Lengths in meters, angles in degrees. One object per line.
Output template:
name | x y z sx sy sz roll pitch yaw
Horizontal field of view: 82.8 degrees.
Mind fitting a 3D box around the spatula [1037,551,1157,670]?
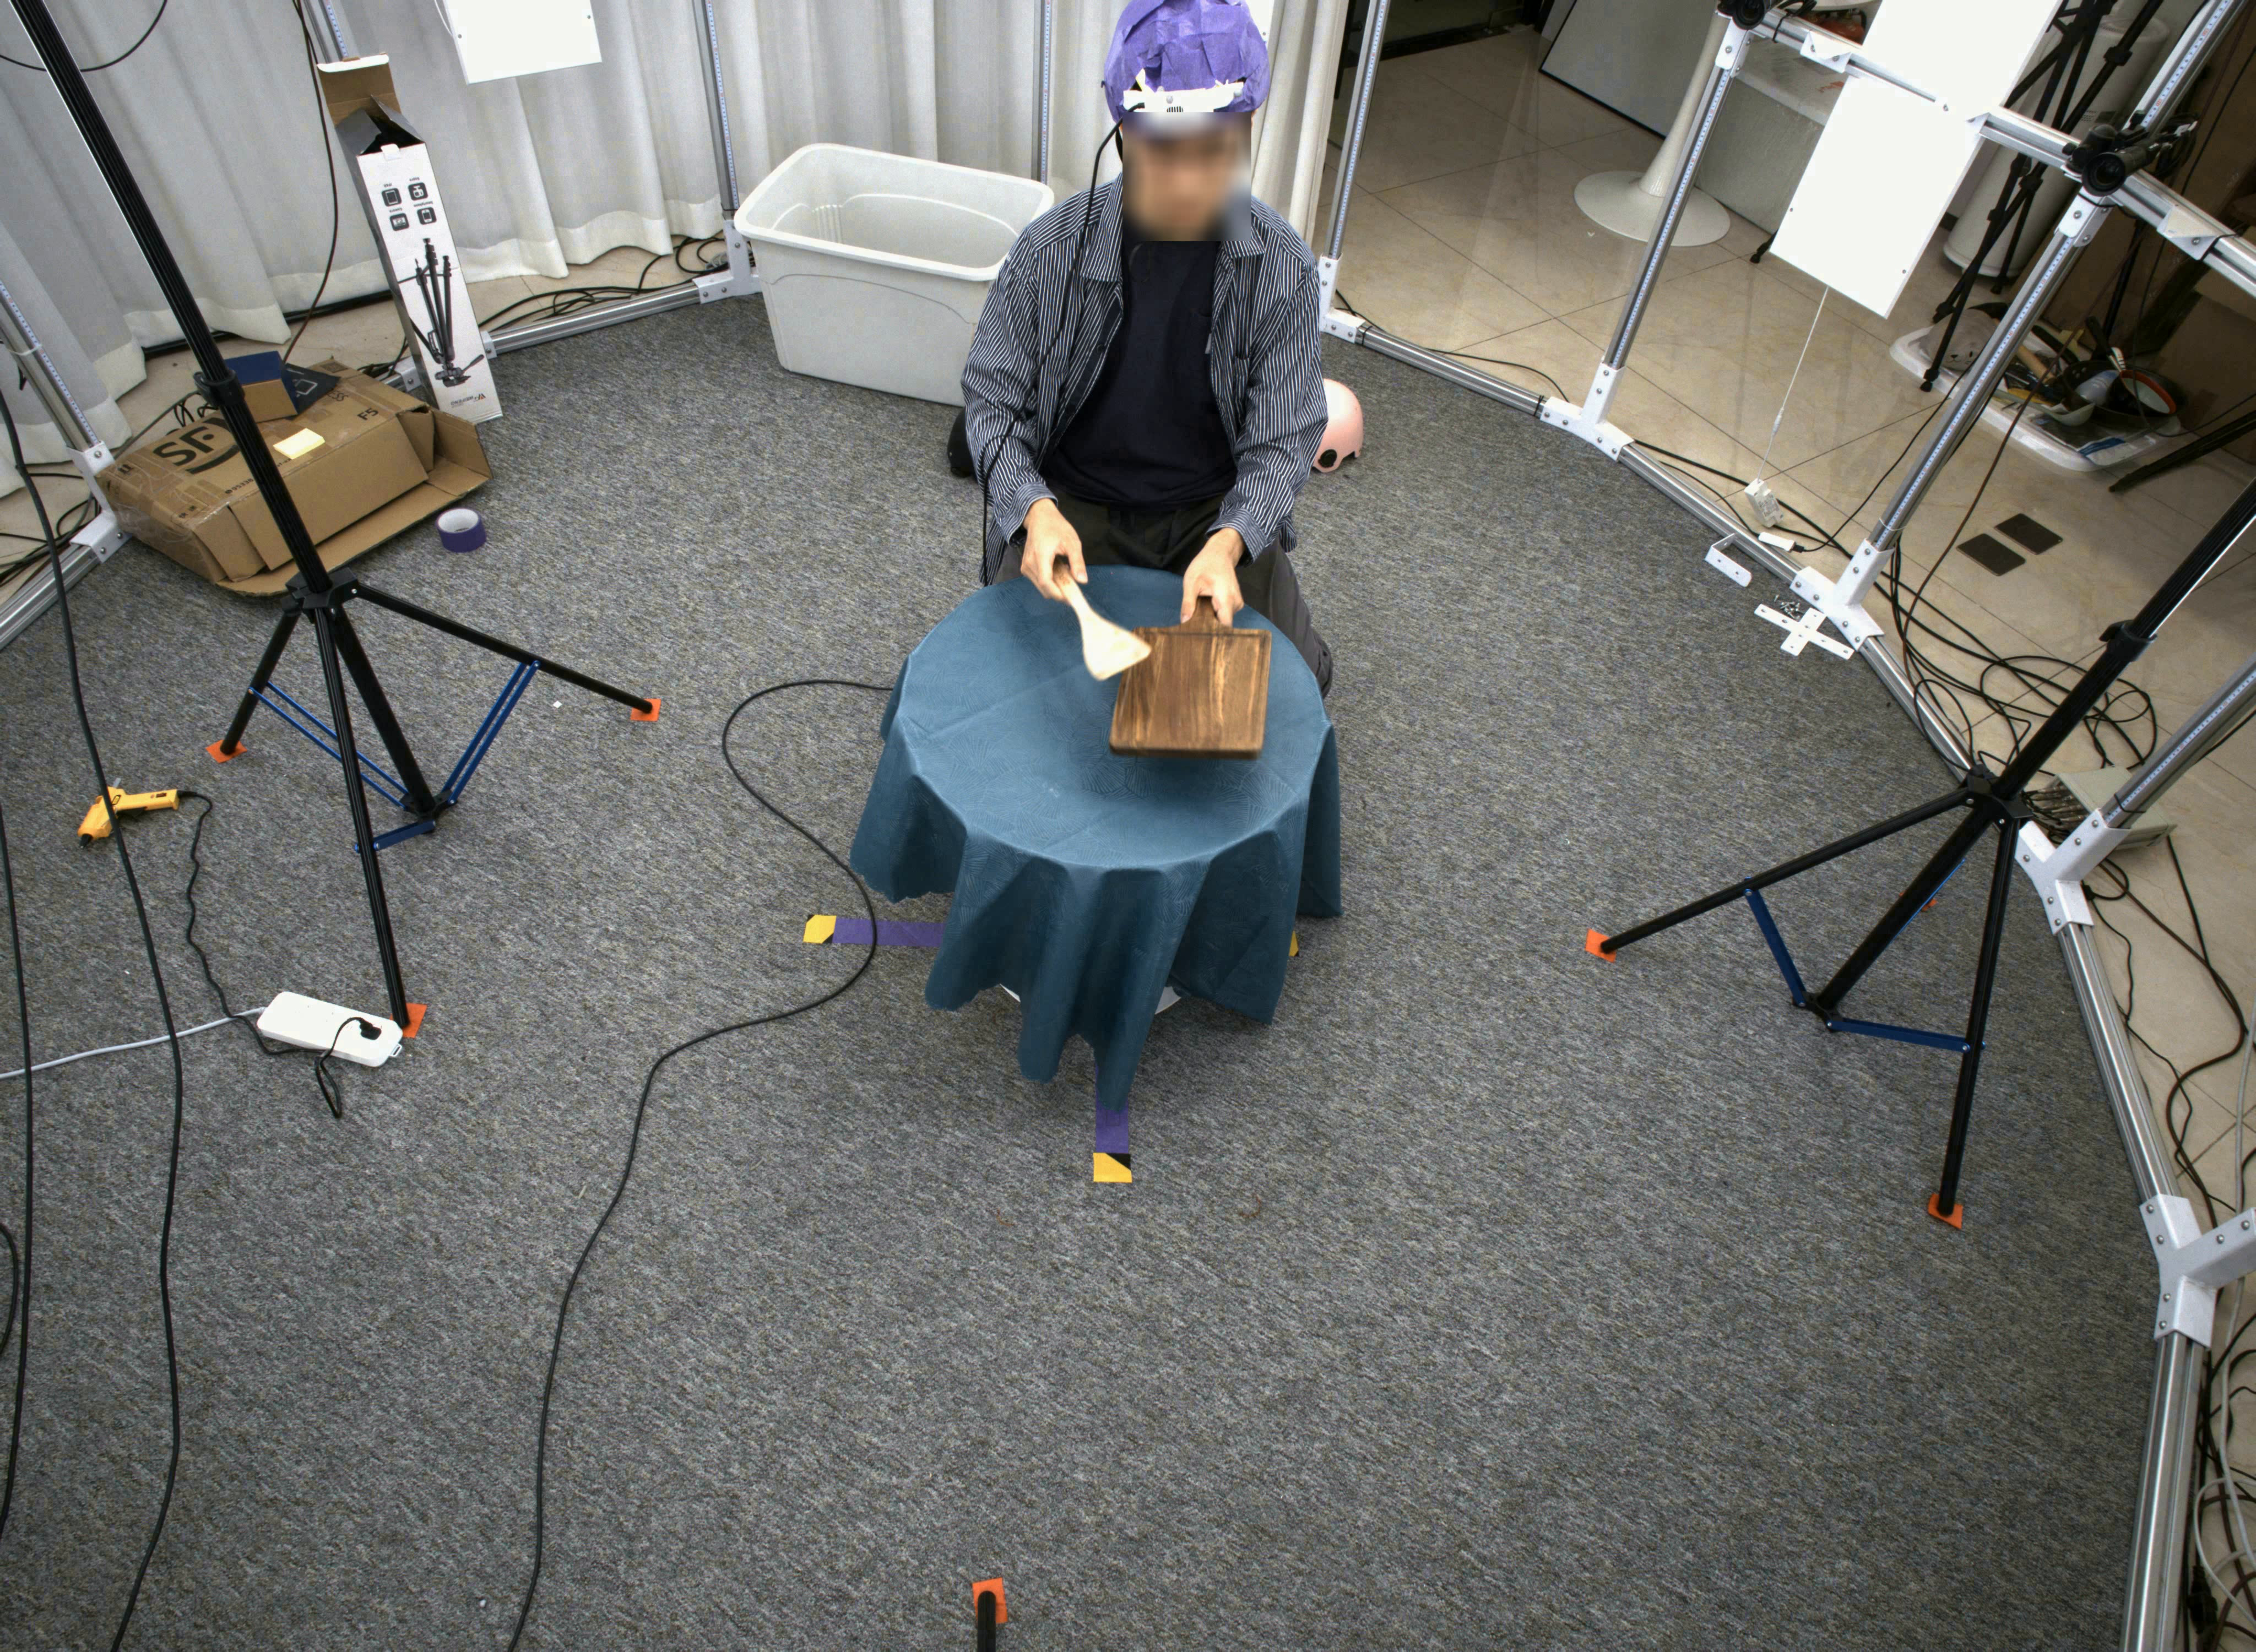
spatula | -0.056 -0.304 1.757 0.080 0.016 0.335 -24 44 -11

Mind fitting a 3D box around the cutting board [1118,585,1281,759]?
cutting board | 0.106 -0.217 1.737 0.201 0.022 0.360 3 44 8
